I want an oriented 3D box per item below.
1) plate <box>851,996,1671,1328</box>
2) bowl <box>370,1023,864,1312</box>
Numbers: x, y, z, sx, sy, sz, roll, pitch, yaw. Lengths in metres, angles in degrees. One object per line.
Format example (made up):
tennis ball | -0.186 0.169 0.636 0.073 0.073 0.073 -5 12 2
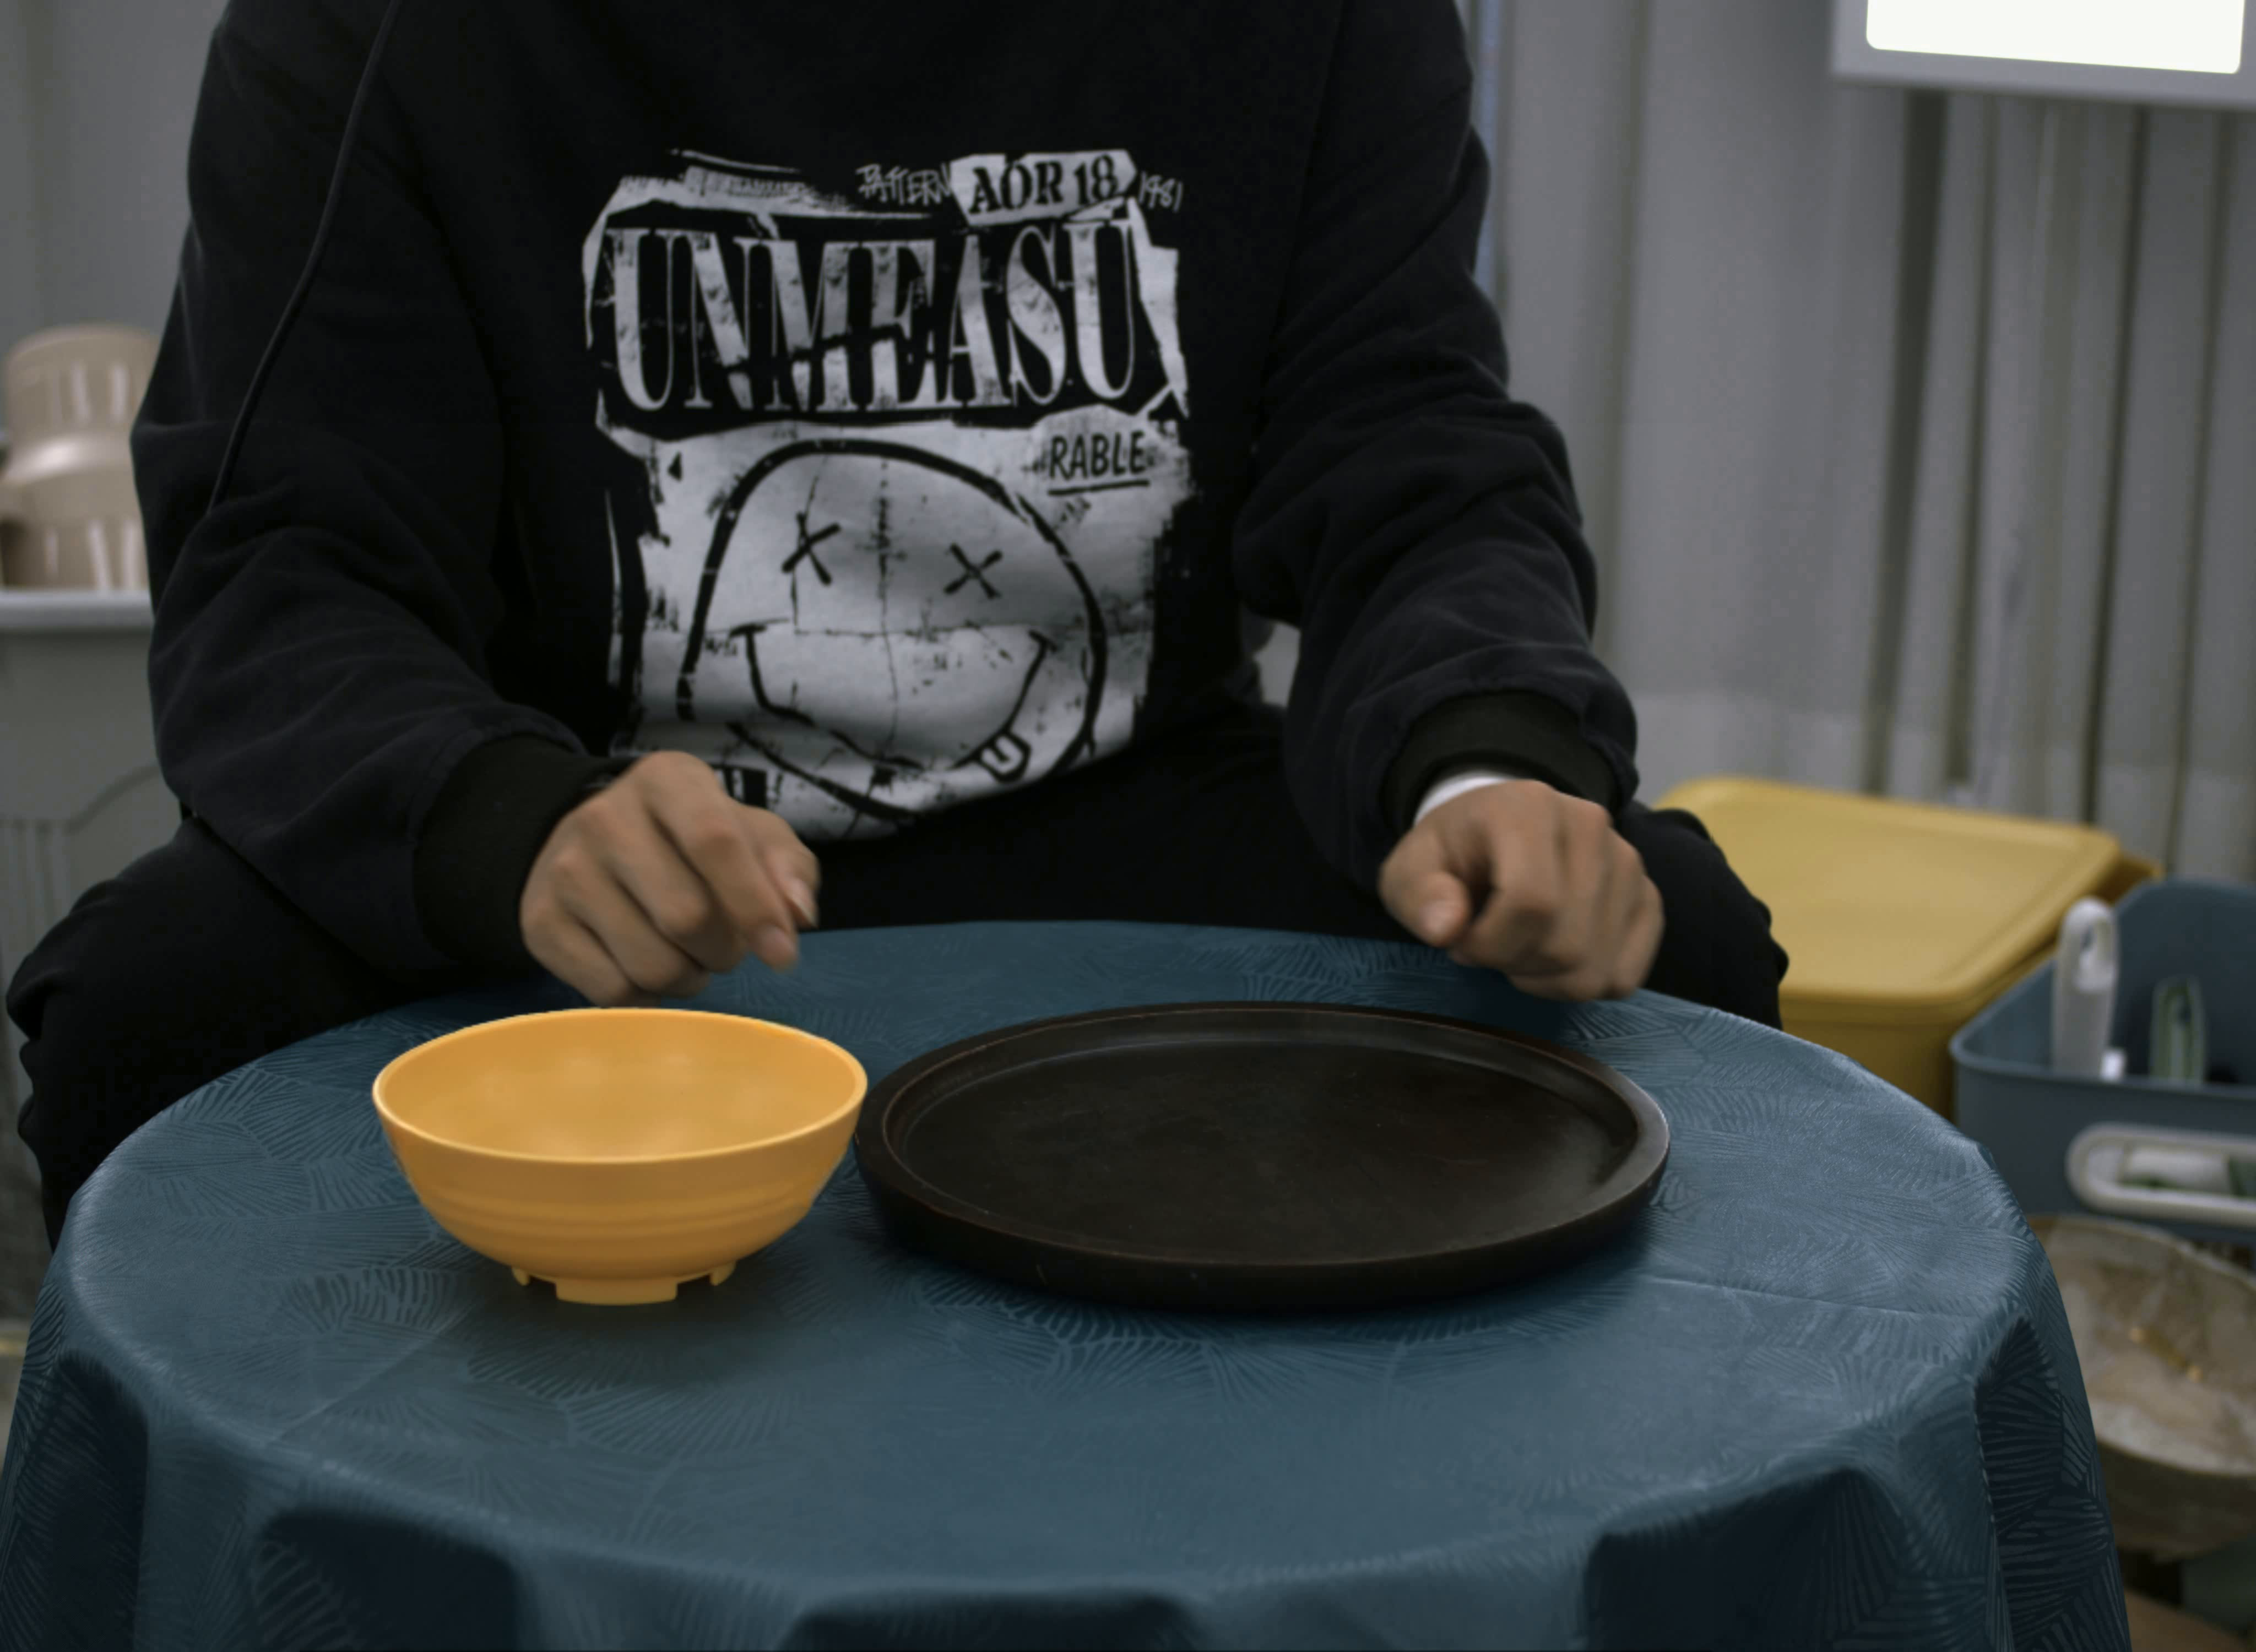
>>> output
plate | 0.041 0.101 1.628 0.254 0.029 0.253 -1 16 1
bowl | -0.150 0.104 1.548 0.145 0.060 0.144 2 13 0
